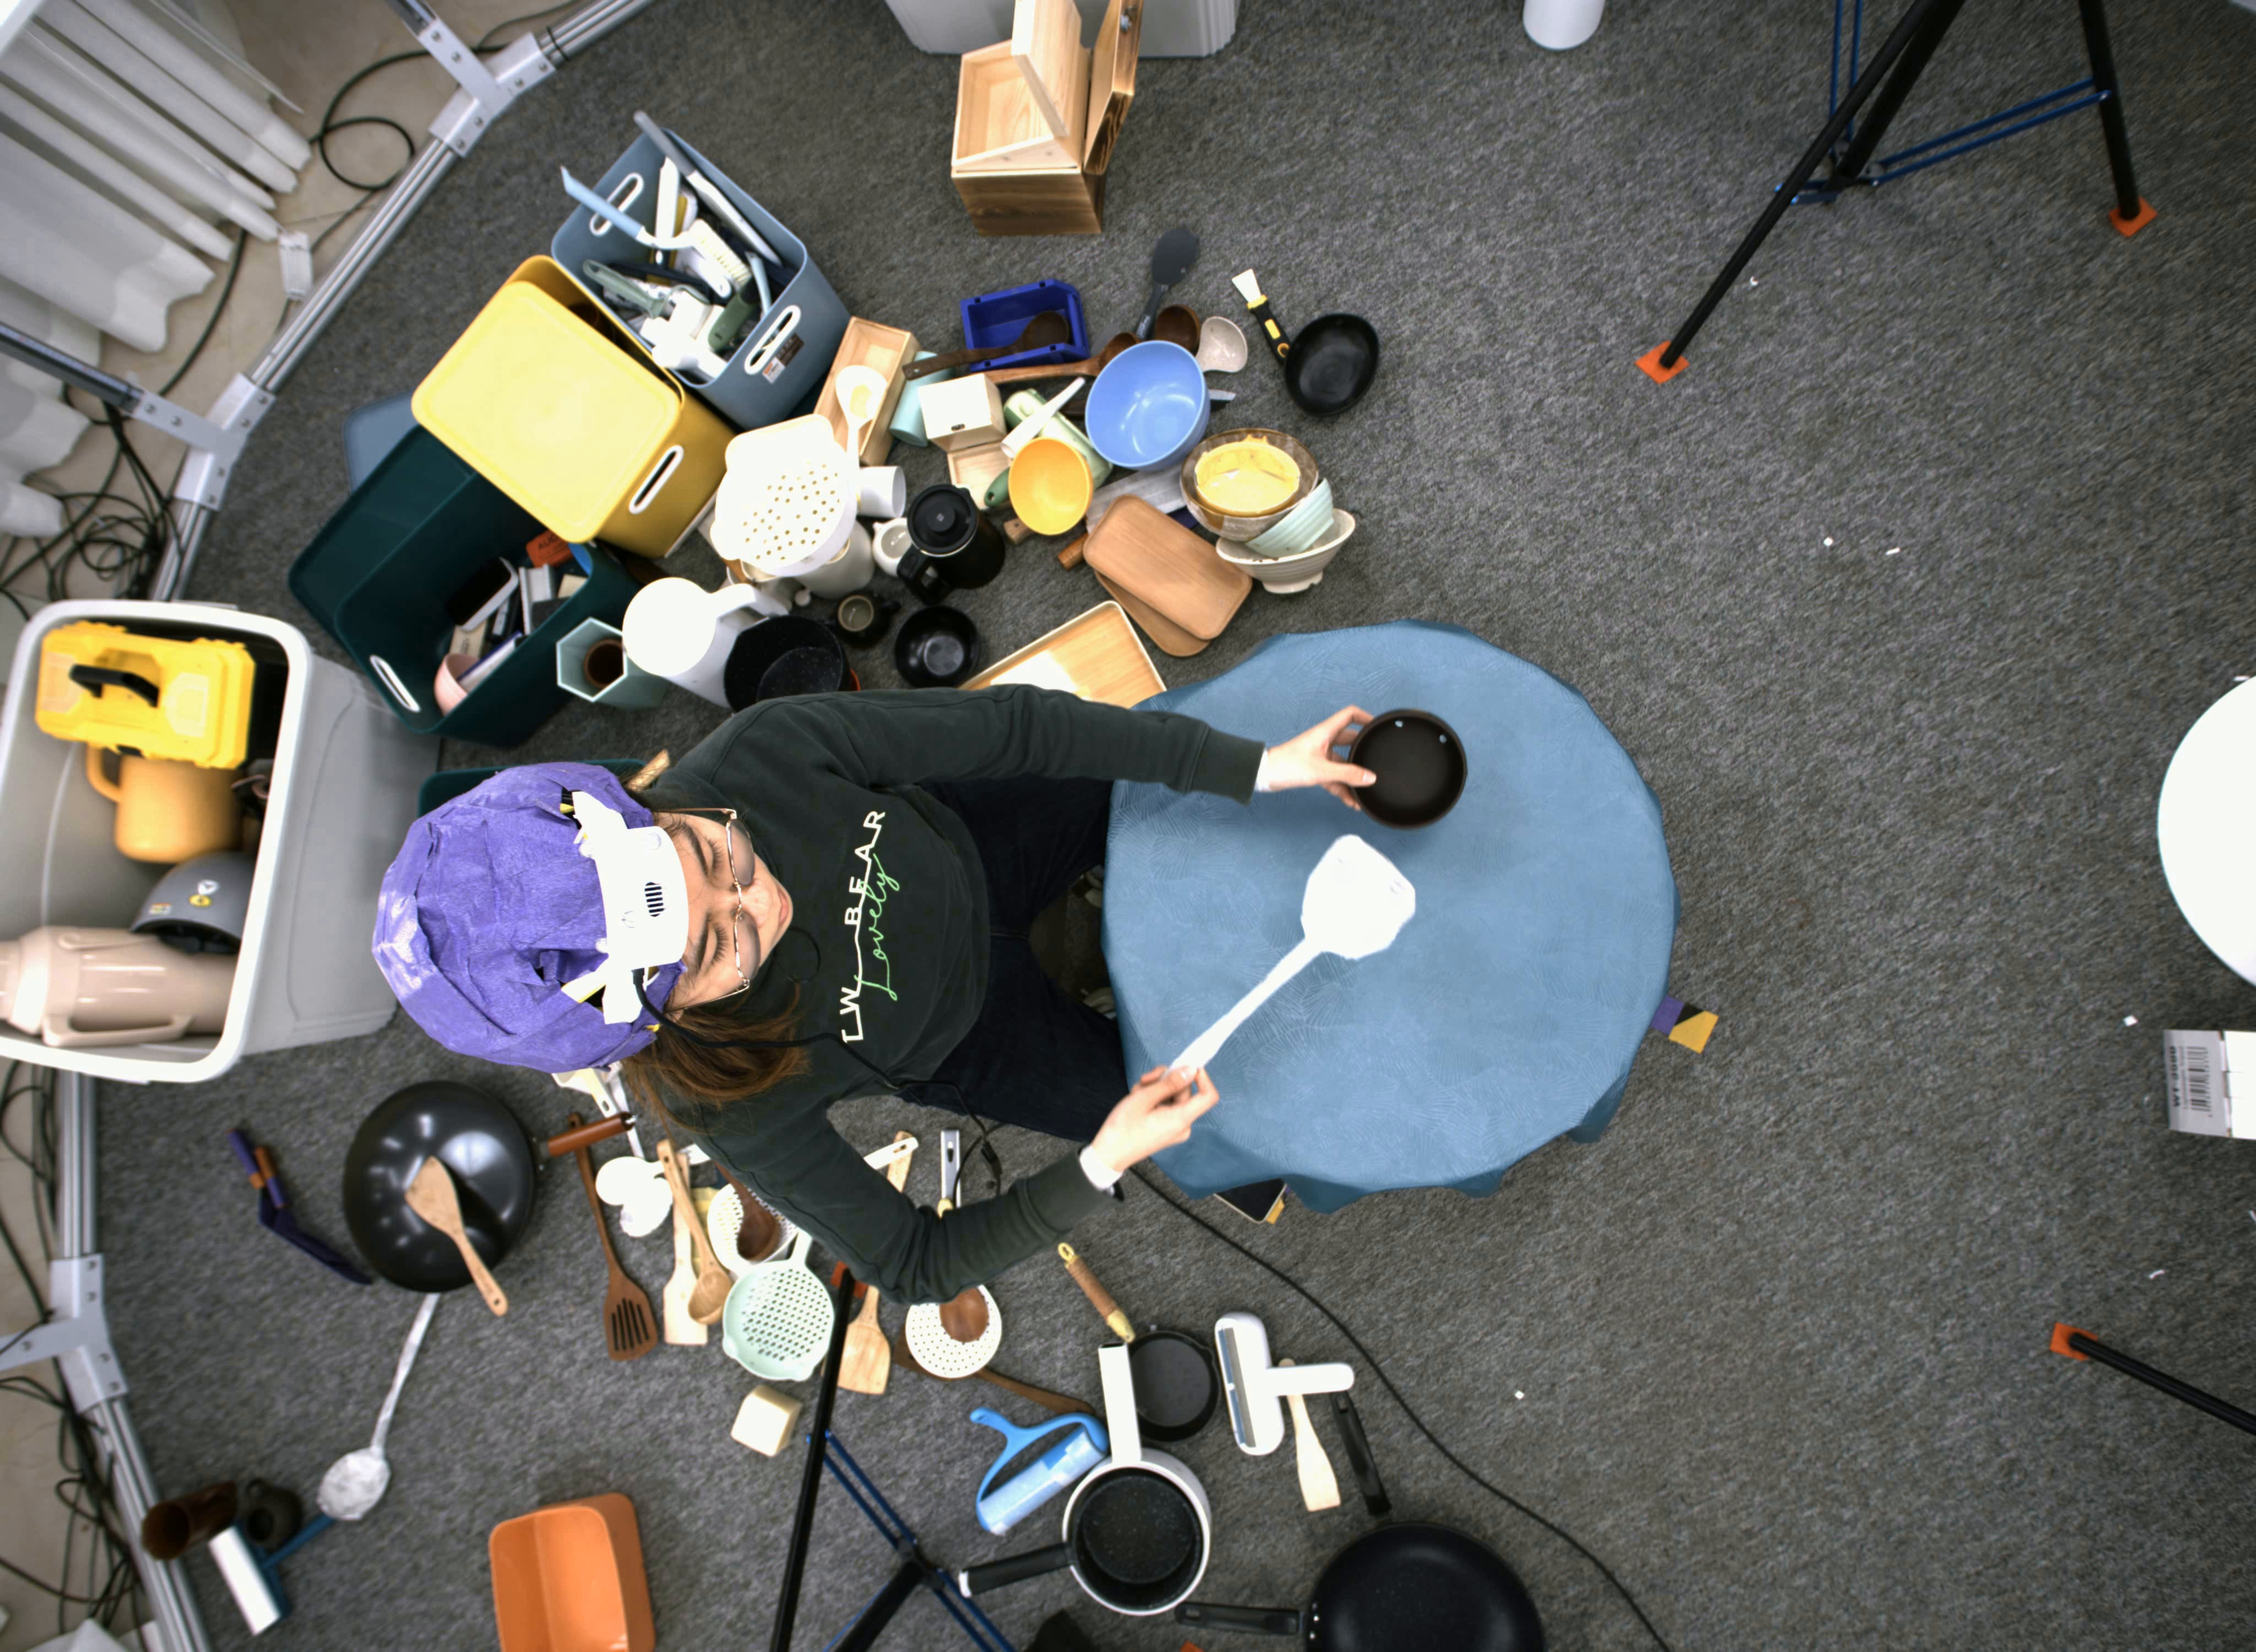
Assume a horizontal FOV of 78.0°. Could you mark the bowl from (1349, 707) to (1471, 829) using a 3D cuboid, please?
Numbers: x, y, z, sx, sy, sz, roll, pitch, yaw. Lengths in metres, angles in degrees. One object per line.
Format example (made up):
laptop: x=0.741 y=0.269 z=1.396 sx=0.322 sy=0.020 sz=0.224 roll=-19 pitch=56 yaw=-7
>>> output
bowl: x=0.278 y=-0.061 z=1.358 sx=0.118 sy=0.069 sz=0.119 roll=3 pitch=103 yaw=12

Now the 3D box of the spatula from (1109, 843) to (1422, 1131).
spatula: x=0.118 y=0.165 z=1.294 sx=0.366 sy=0.045 sz=0.098 roll=-43 pitch=73 yaw=3
